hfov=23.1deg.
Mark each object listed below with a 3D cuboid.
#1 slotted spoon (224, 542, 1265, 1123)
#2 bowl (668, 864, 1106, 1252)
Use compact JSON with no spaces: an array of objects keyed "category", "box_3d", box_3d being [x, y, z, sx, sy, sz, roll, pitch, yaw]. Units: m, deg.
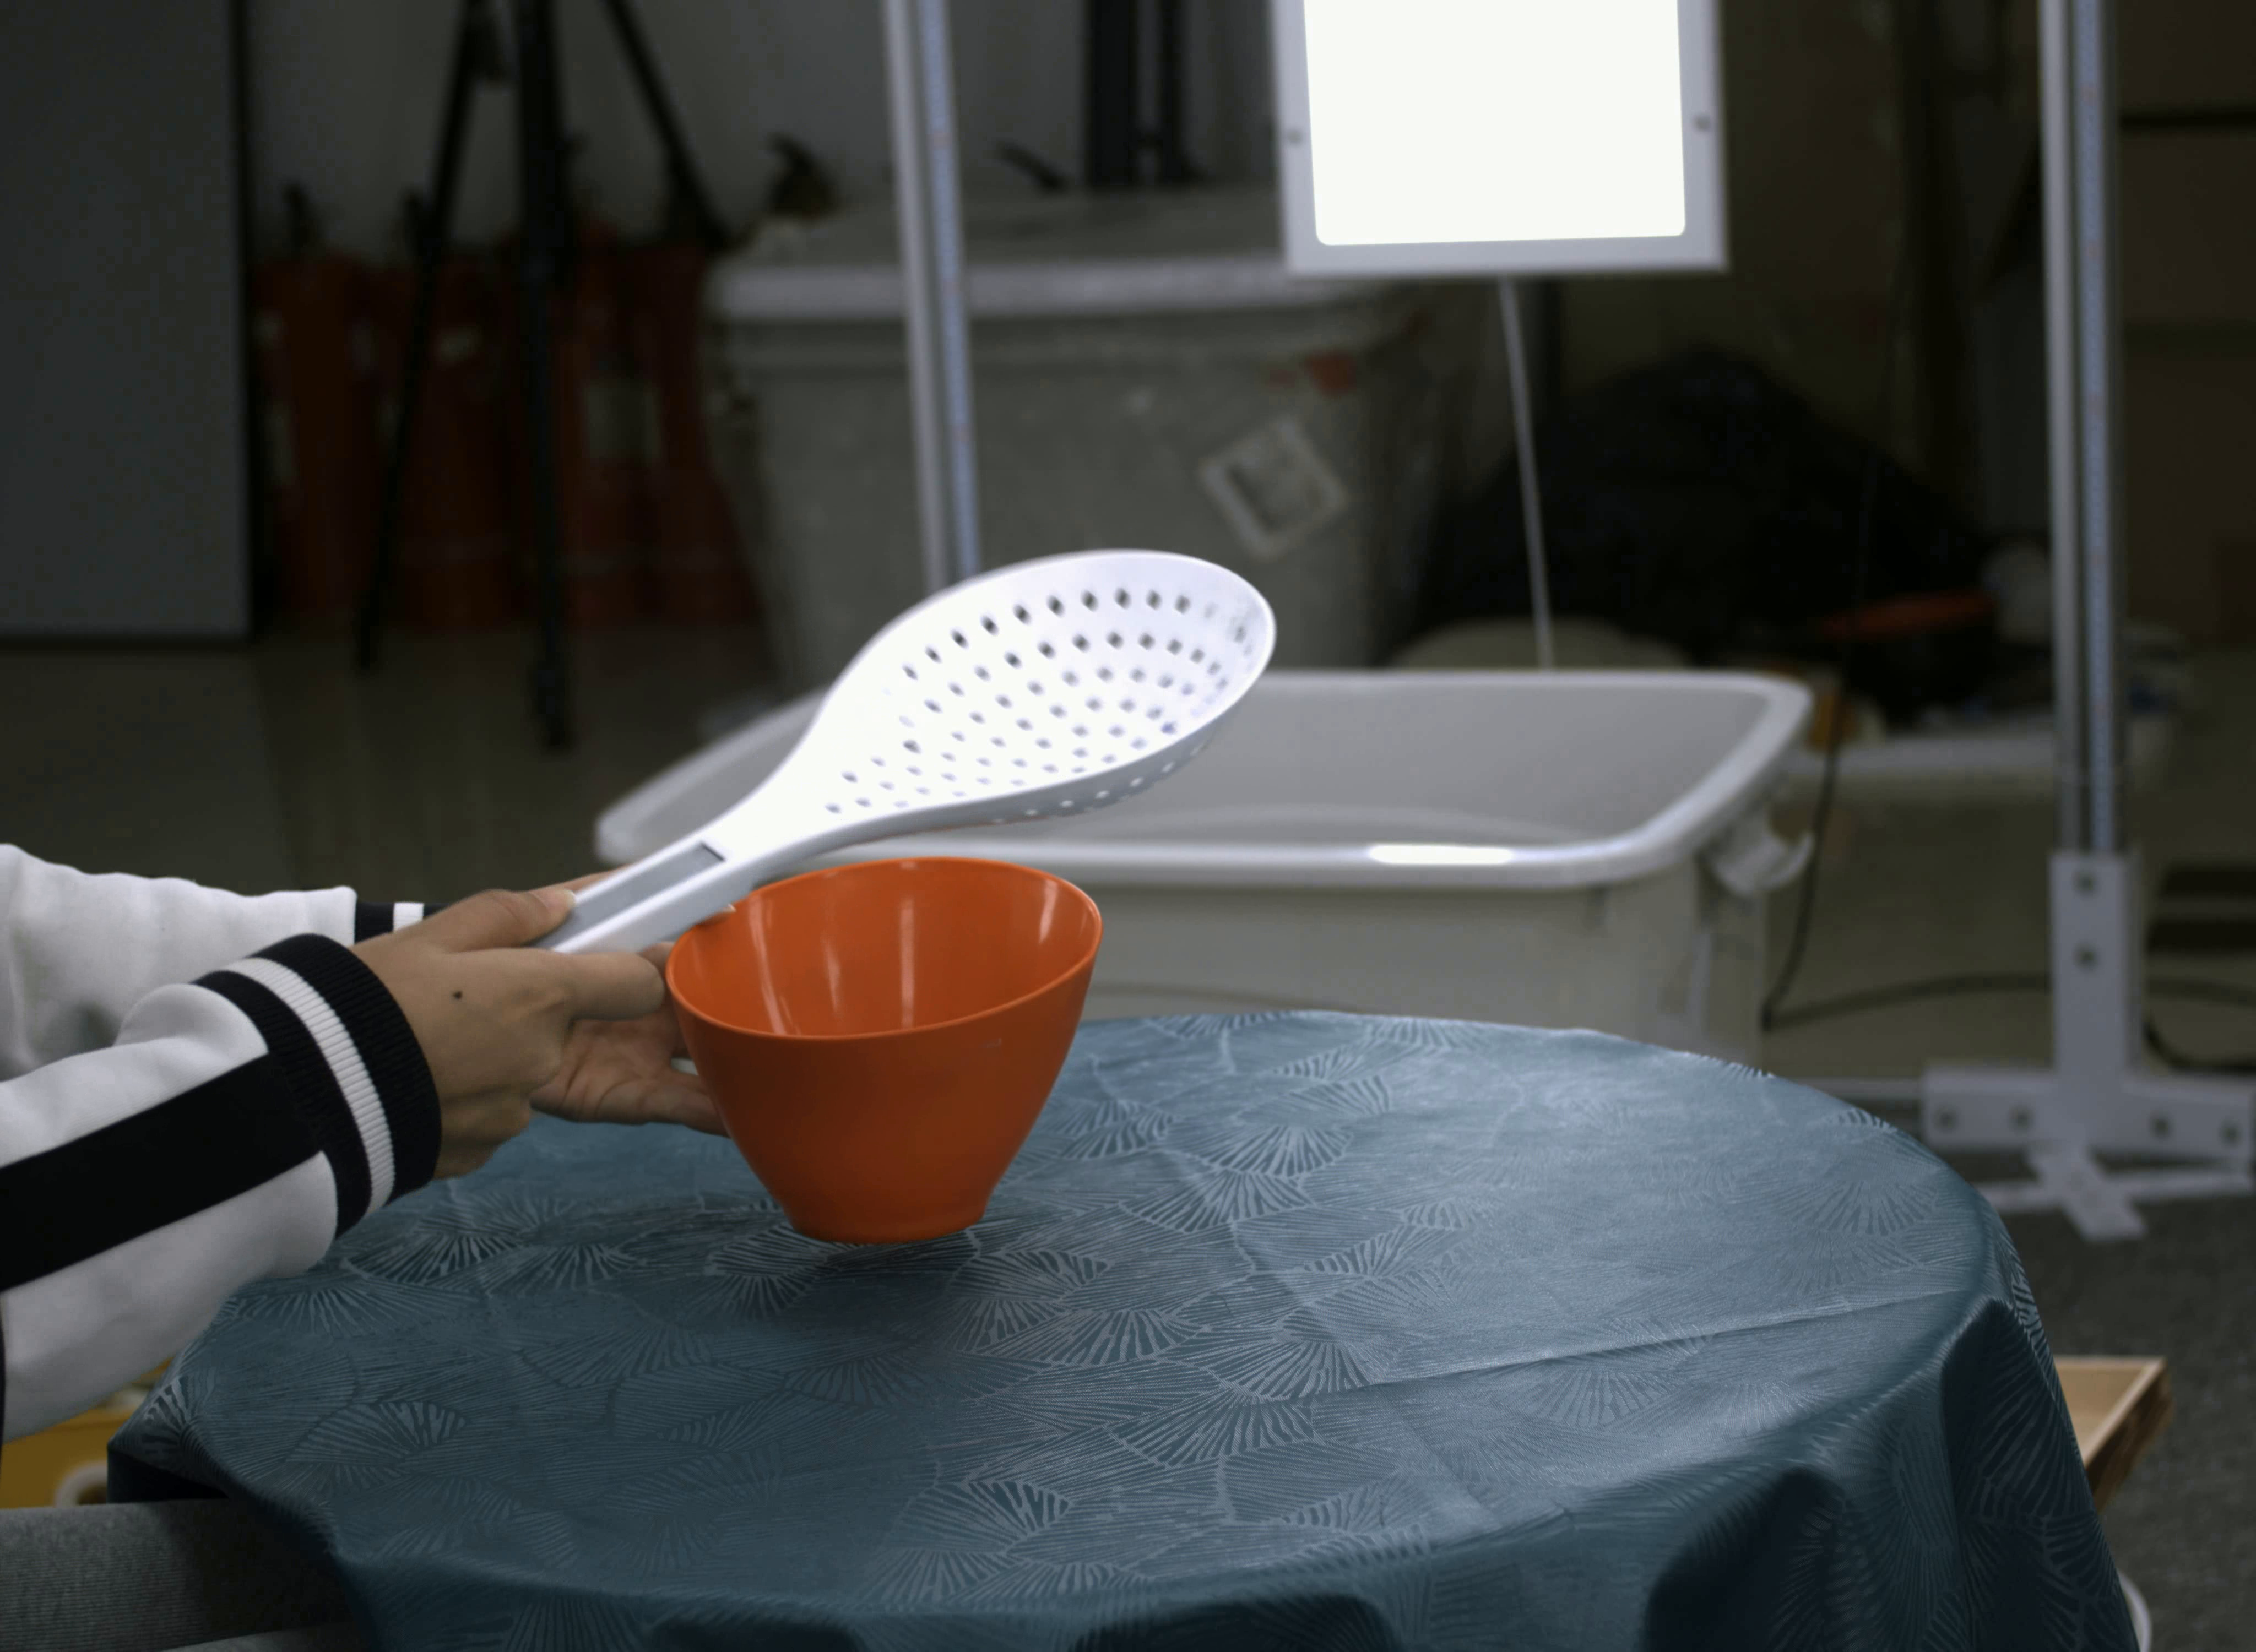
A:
[{"category":"slotted spoon","box_3d":[-0.111,0.002,1.640,0.343,0.046,0.138,-24,34,-24]},{"category":"bowl","box_3d":[-0.080,0.081,1.856,0.147,0.105,0.148,-2,14,-1]}]
